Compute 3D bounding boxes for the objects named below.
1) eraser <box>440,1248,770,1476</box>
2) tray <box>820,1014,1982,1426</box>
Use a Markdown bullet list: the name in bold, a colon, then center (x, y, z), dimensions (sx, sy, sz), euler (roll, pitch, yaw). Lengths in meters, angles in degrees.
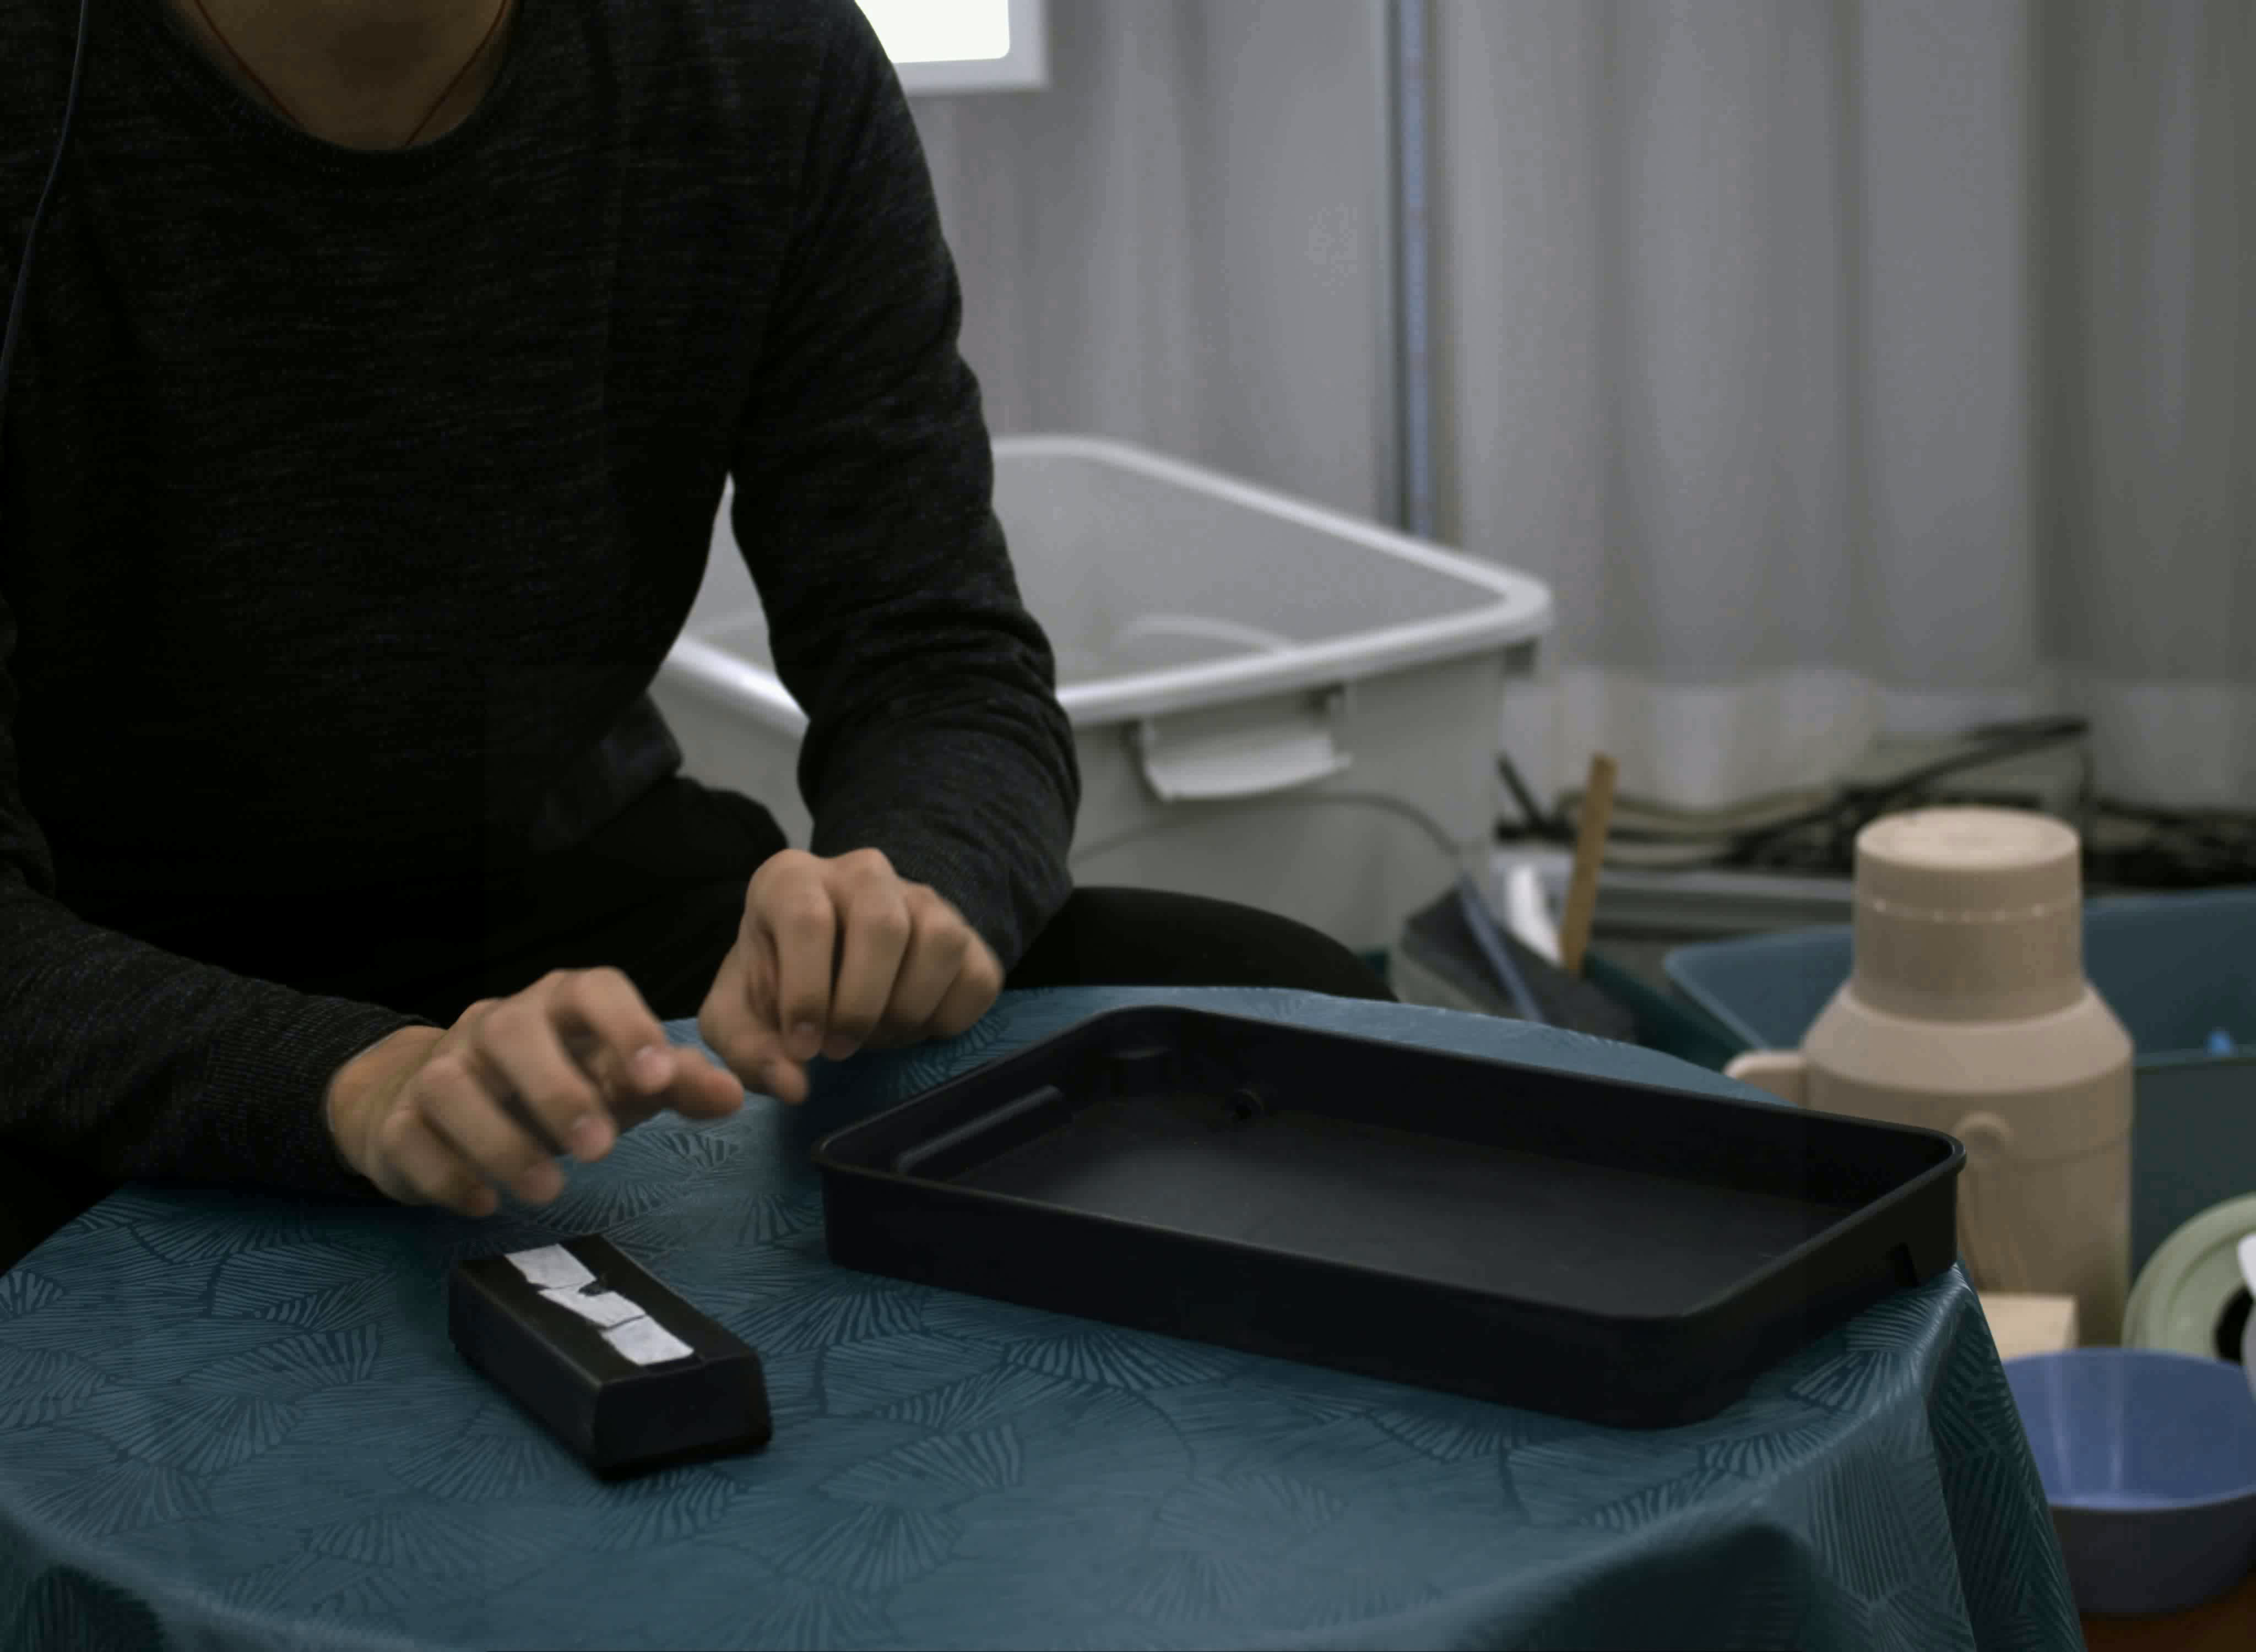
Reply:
- **eraser**: center (-0.149, 0.151, 1.552), dimensions (0.053, 0.030, 0.126), euler (-7, 14, -26)
- **tray**: center (0.080, 0.113, 1.637), dimensions (0.319, 0.037, 0.184), euler (7, 17, 35)
